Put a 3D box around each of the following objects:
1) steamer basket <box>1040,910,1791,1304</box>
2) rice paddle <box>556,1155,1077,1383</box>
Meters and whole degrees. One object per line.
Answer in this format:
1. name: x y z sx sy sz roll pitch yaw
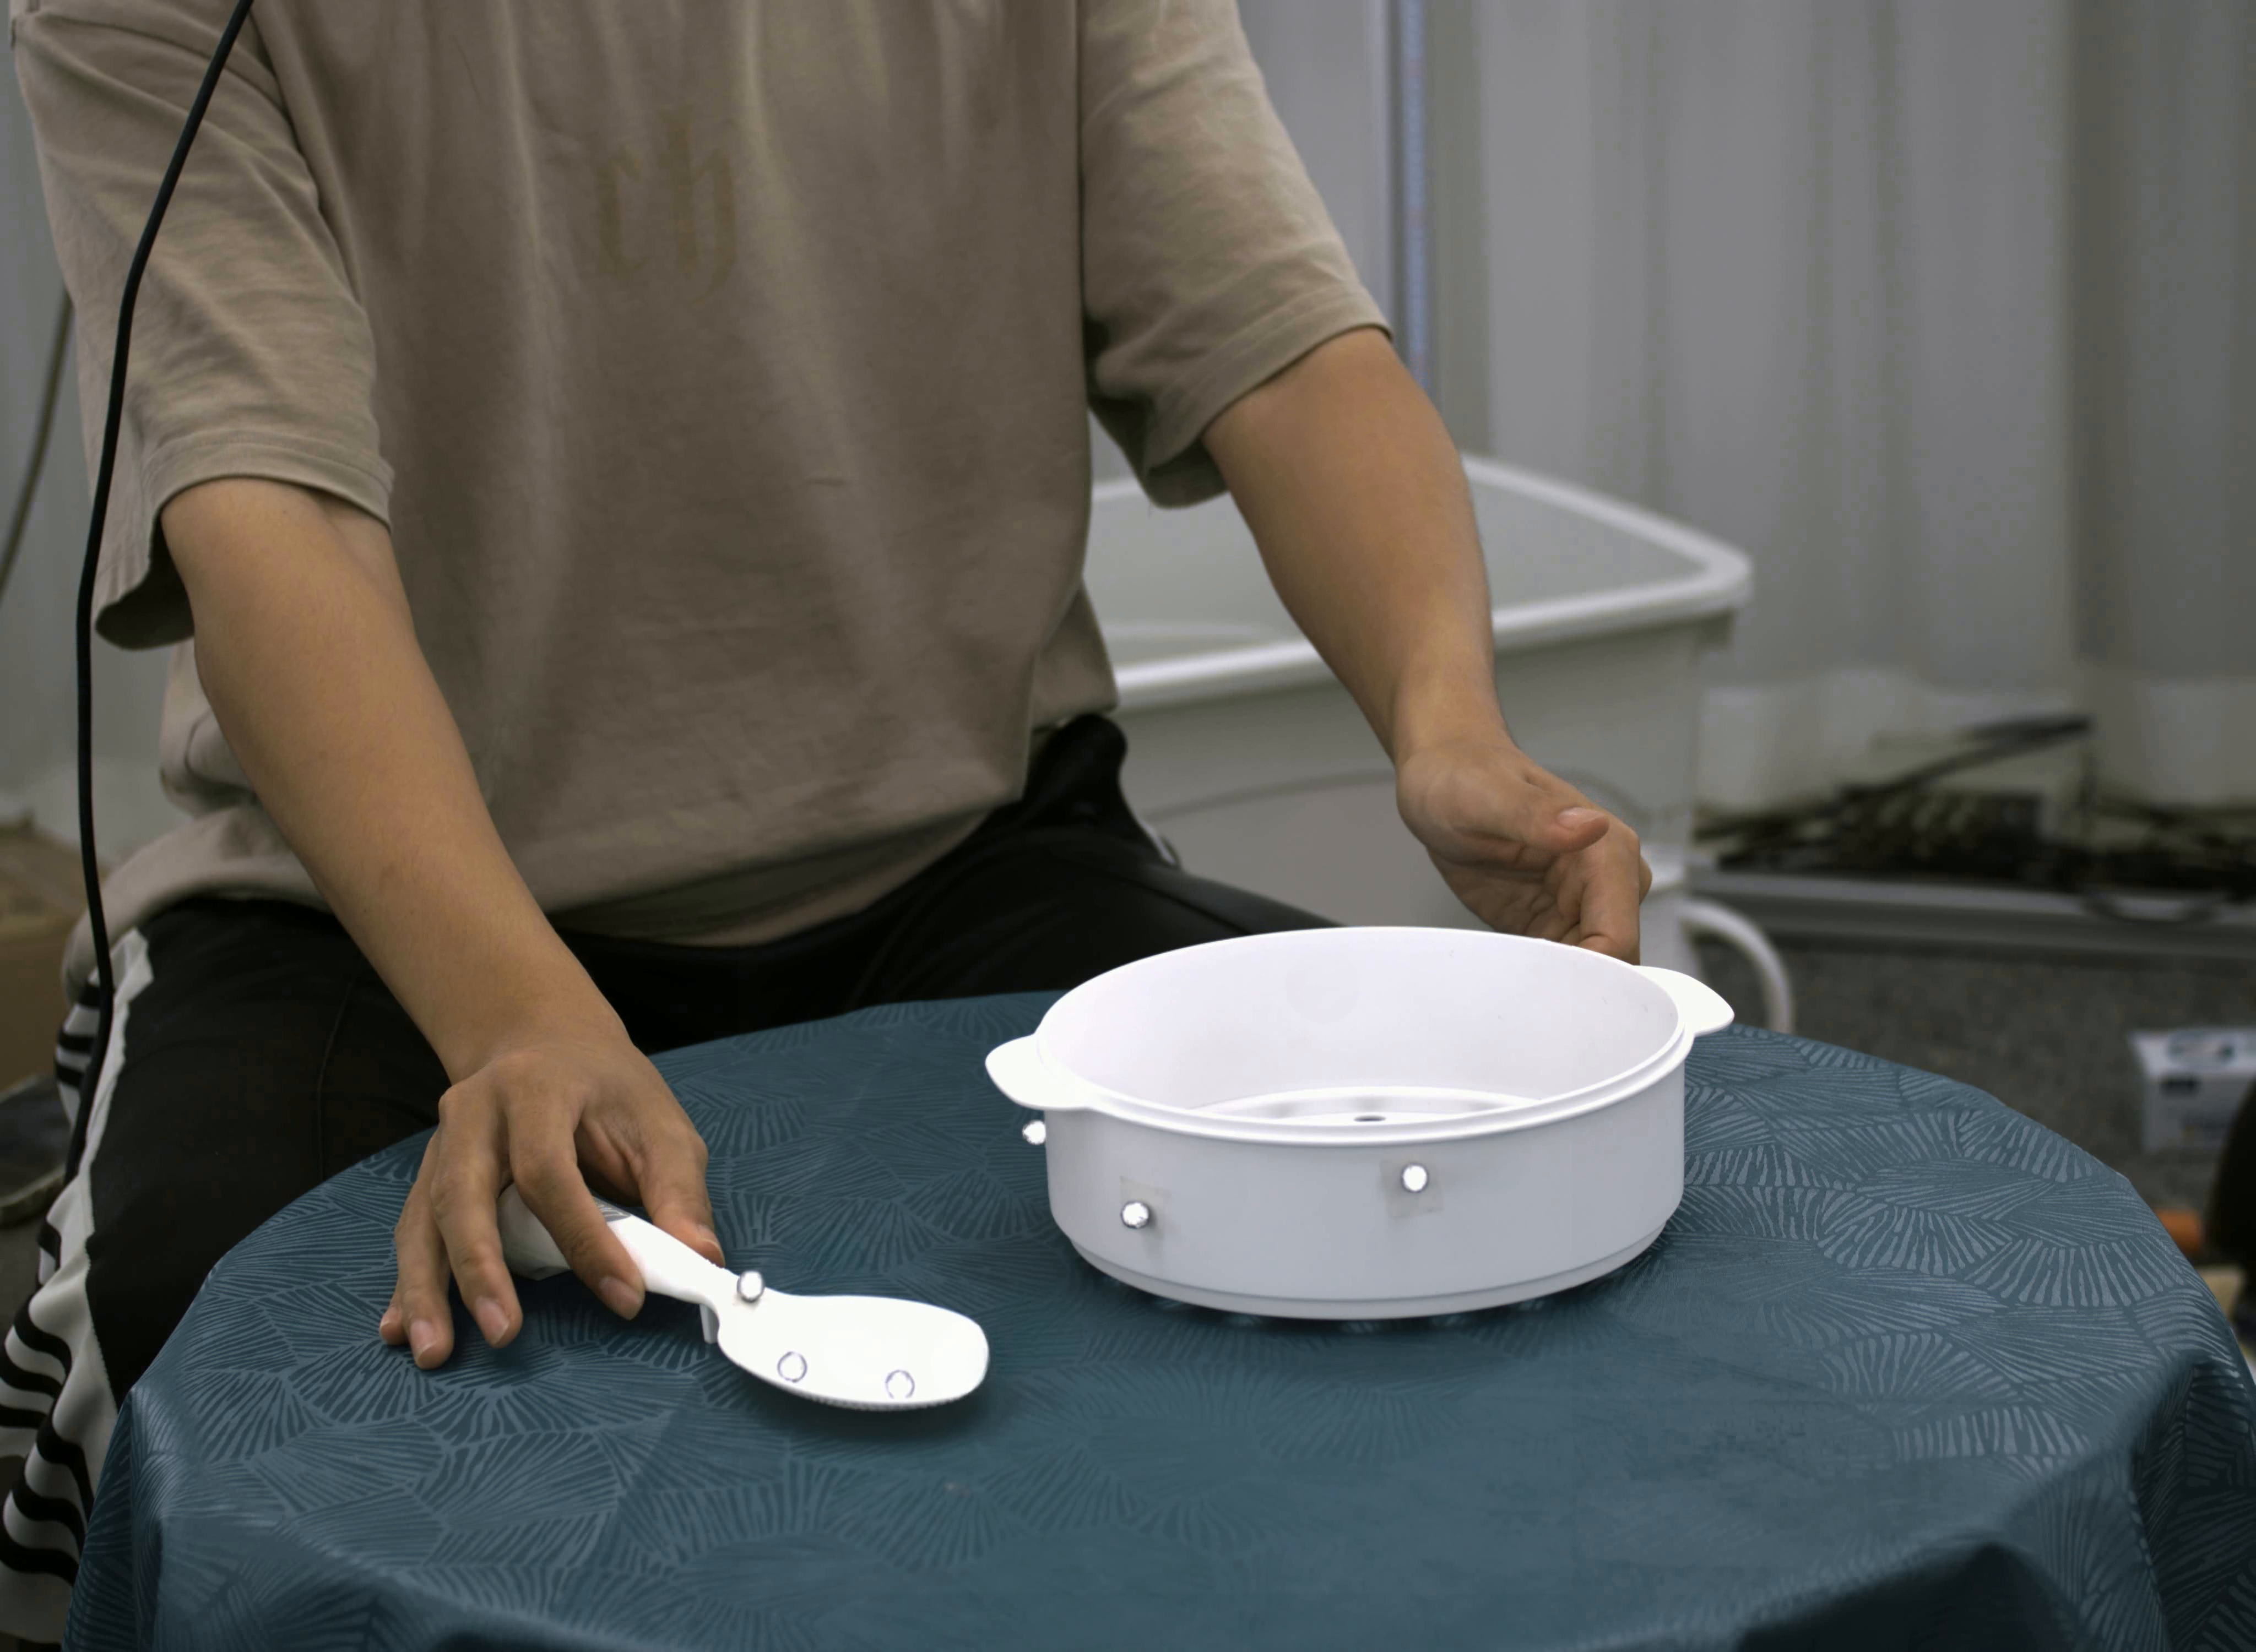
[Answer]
1. steamer basket: 0.088 0.086 1.663 0.229 0.069 0.203 -5 16 -13
2. rice paddle: -0.093 0.131 1.594 0.068 0.029 0.206 -17 20 -40
